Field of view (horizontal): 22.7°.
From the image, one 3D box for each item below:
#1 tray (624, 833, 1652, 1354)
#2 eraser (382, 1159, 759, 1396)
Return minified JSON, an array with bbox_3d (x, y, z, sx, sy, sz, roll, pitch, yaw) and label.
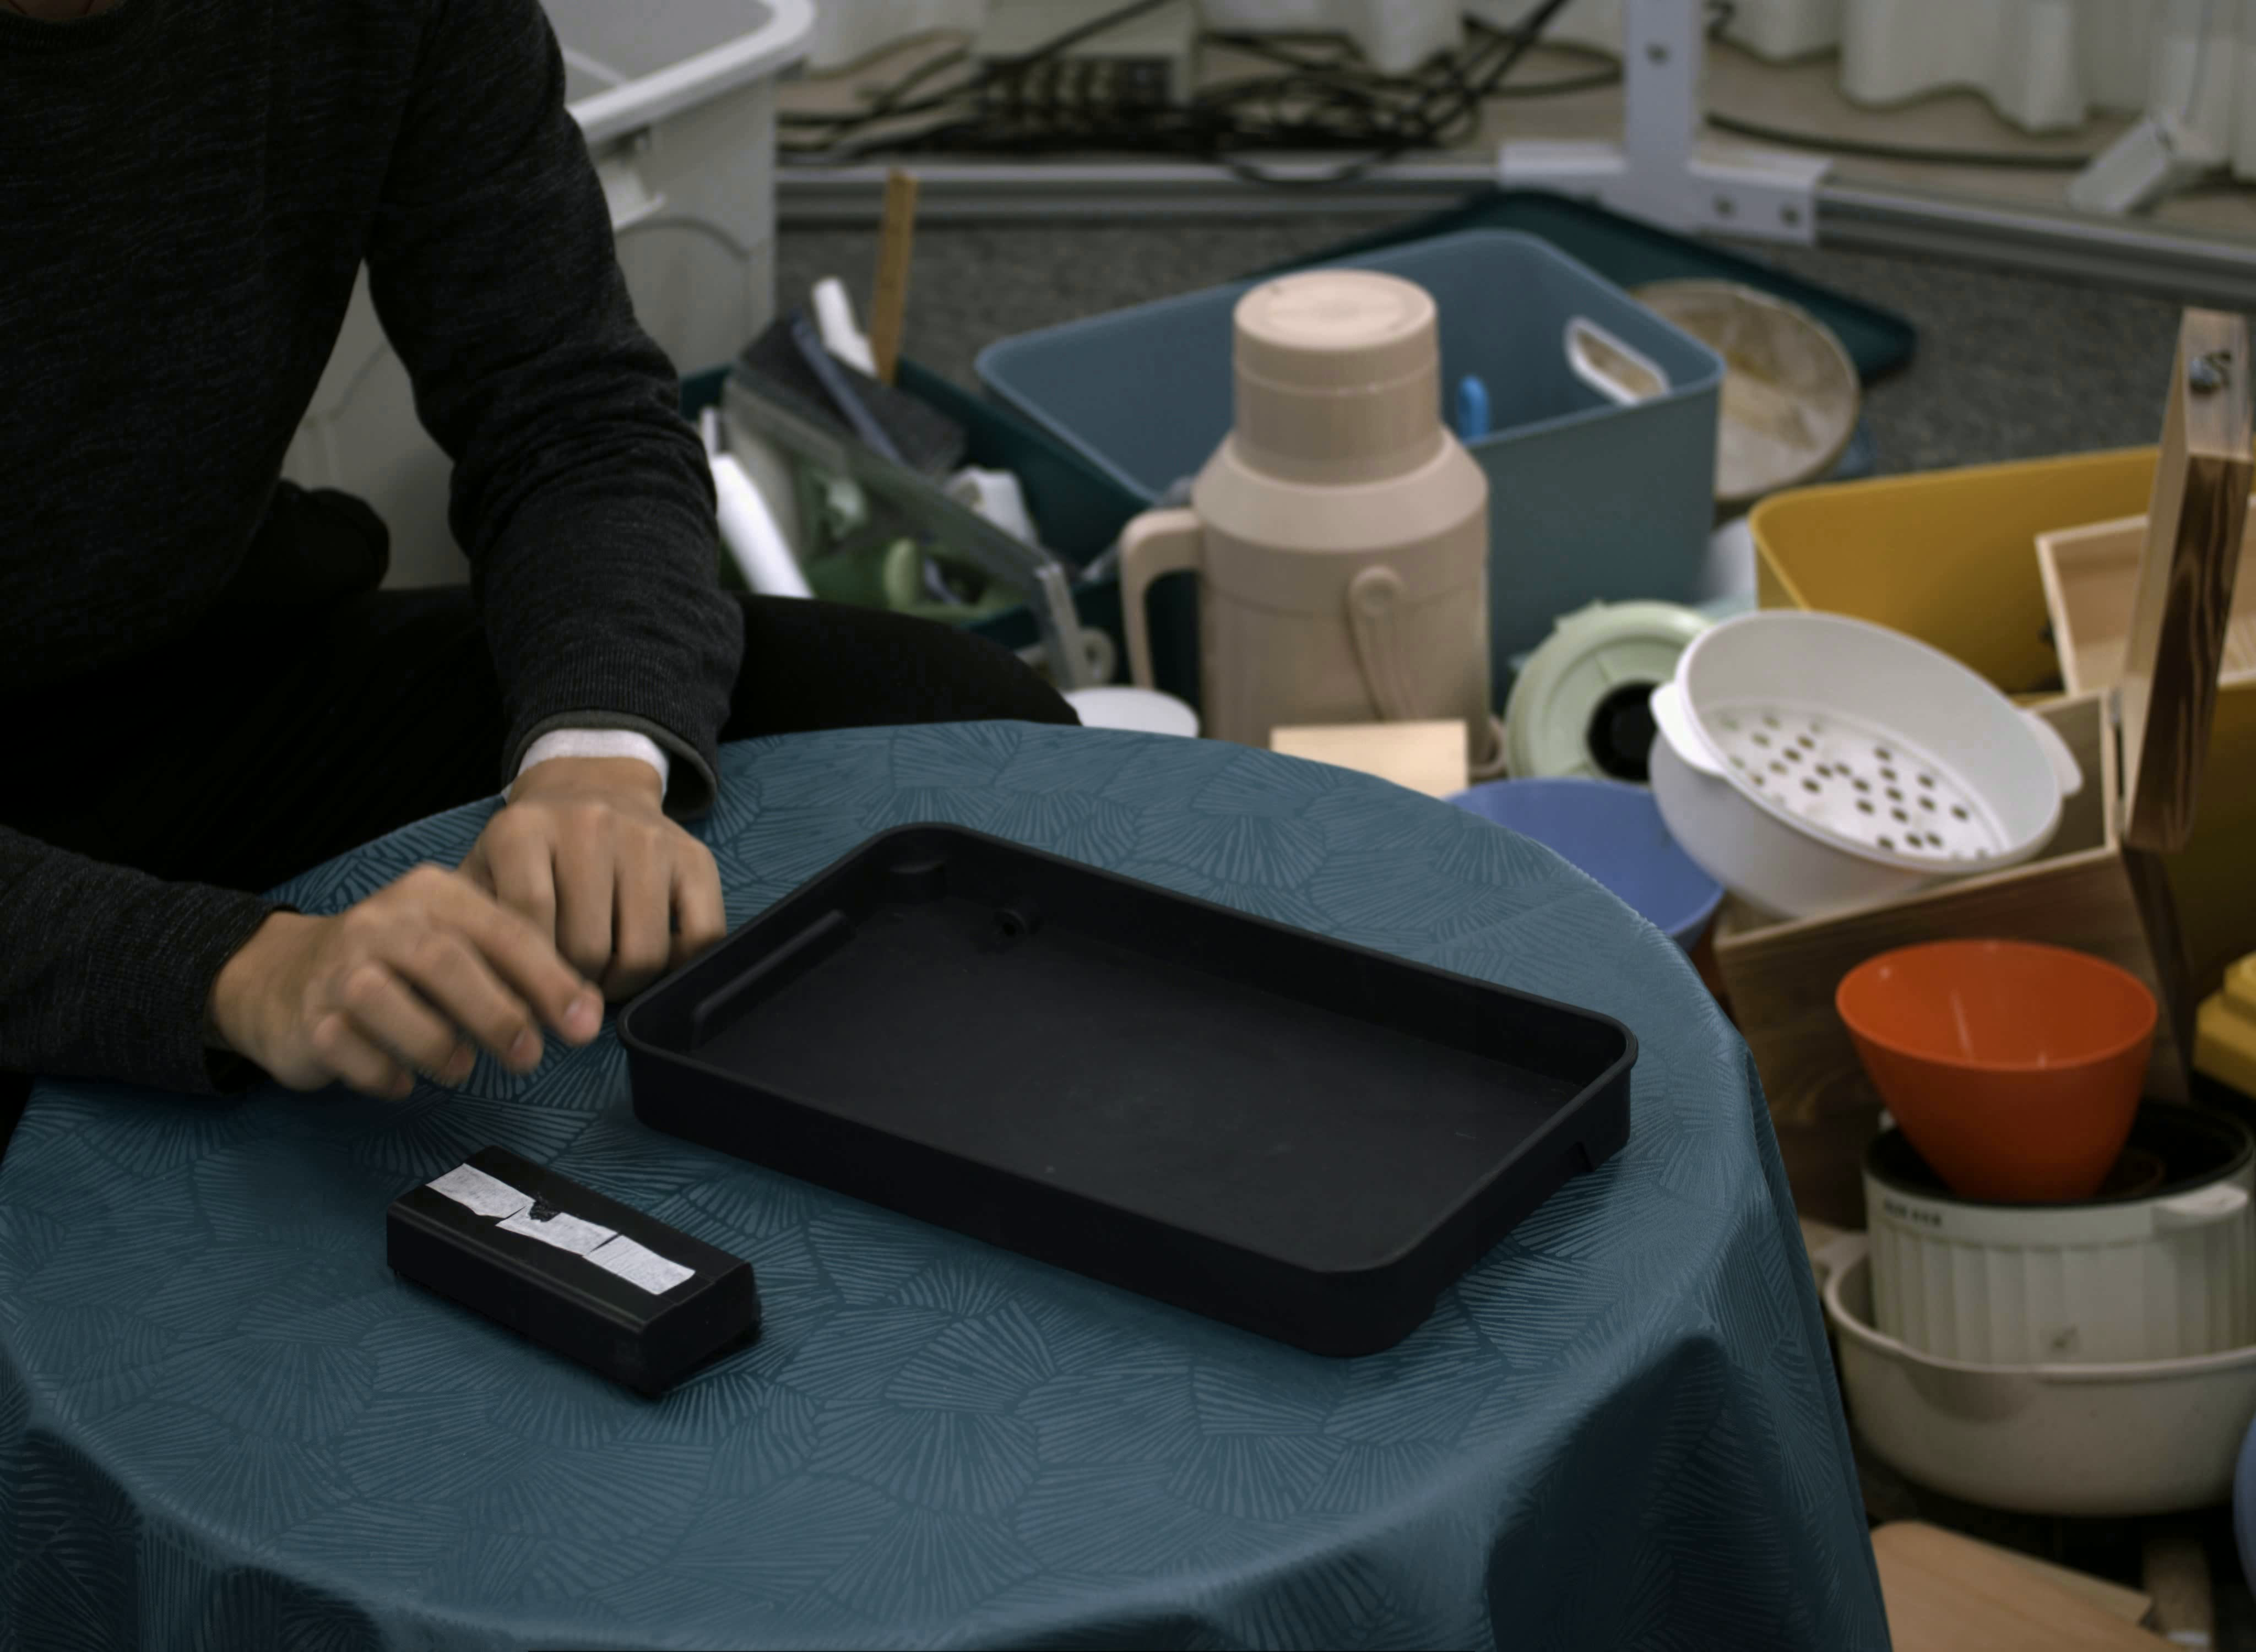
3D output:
[{"bbox_3d":[0.002,0.085,1.894,0.316,0.036,0.187,14,32,31],"label":"tray"},{"bbox_3d":[-0.179,0.145,1.805,0.125,0.030,0.054,18,32,37],"label":"eraser"}]
